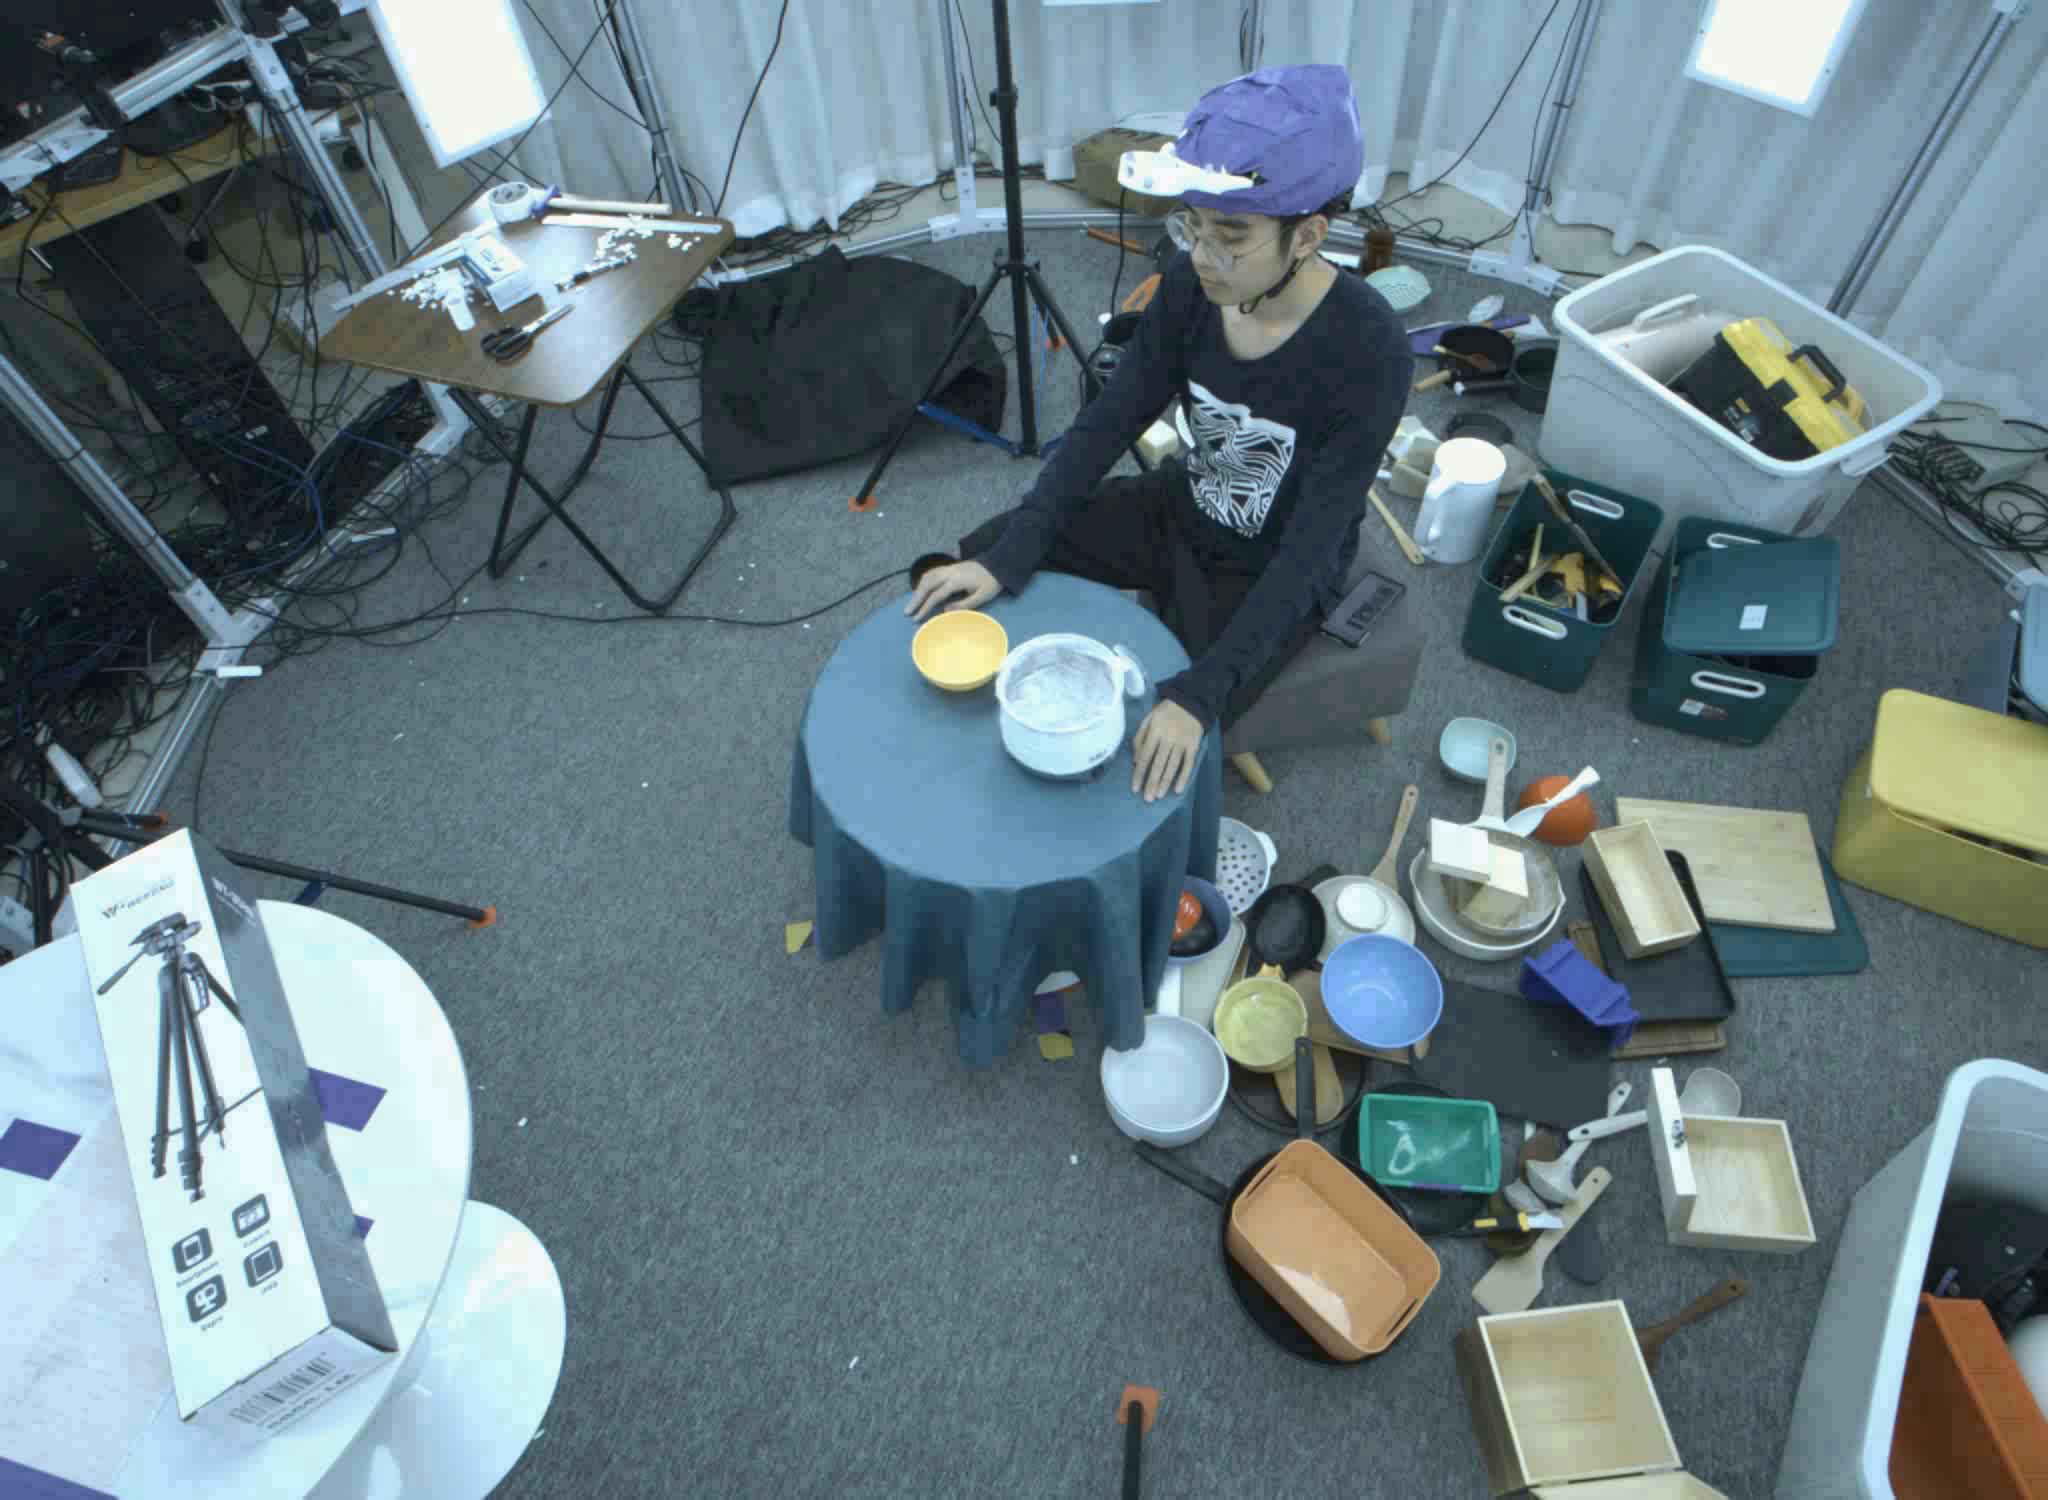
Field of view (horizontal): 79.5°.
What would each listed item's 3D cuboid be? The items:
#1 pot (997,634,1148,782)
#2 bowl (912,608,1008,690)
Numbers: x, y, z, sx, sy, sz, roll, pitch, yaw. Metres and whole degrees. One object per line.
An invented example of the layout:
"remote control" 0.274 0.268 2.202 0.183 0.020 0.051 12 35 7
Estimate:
"pot" 0.077 -0.069 1.761 0.236 0.138 0.175 -30 58 -20
"bowl" -0.095 -0.141 1.860 0.145 0.061 0.144 0 56 2
